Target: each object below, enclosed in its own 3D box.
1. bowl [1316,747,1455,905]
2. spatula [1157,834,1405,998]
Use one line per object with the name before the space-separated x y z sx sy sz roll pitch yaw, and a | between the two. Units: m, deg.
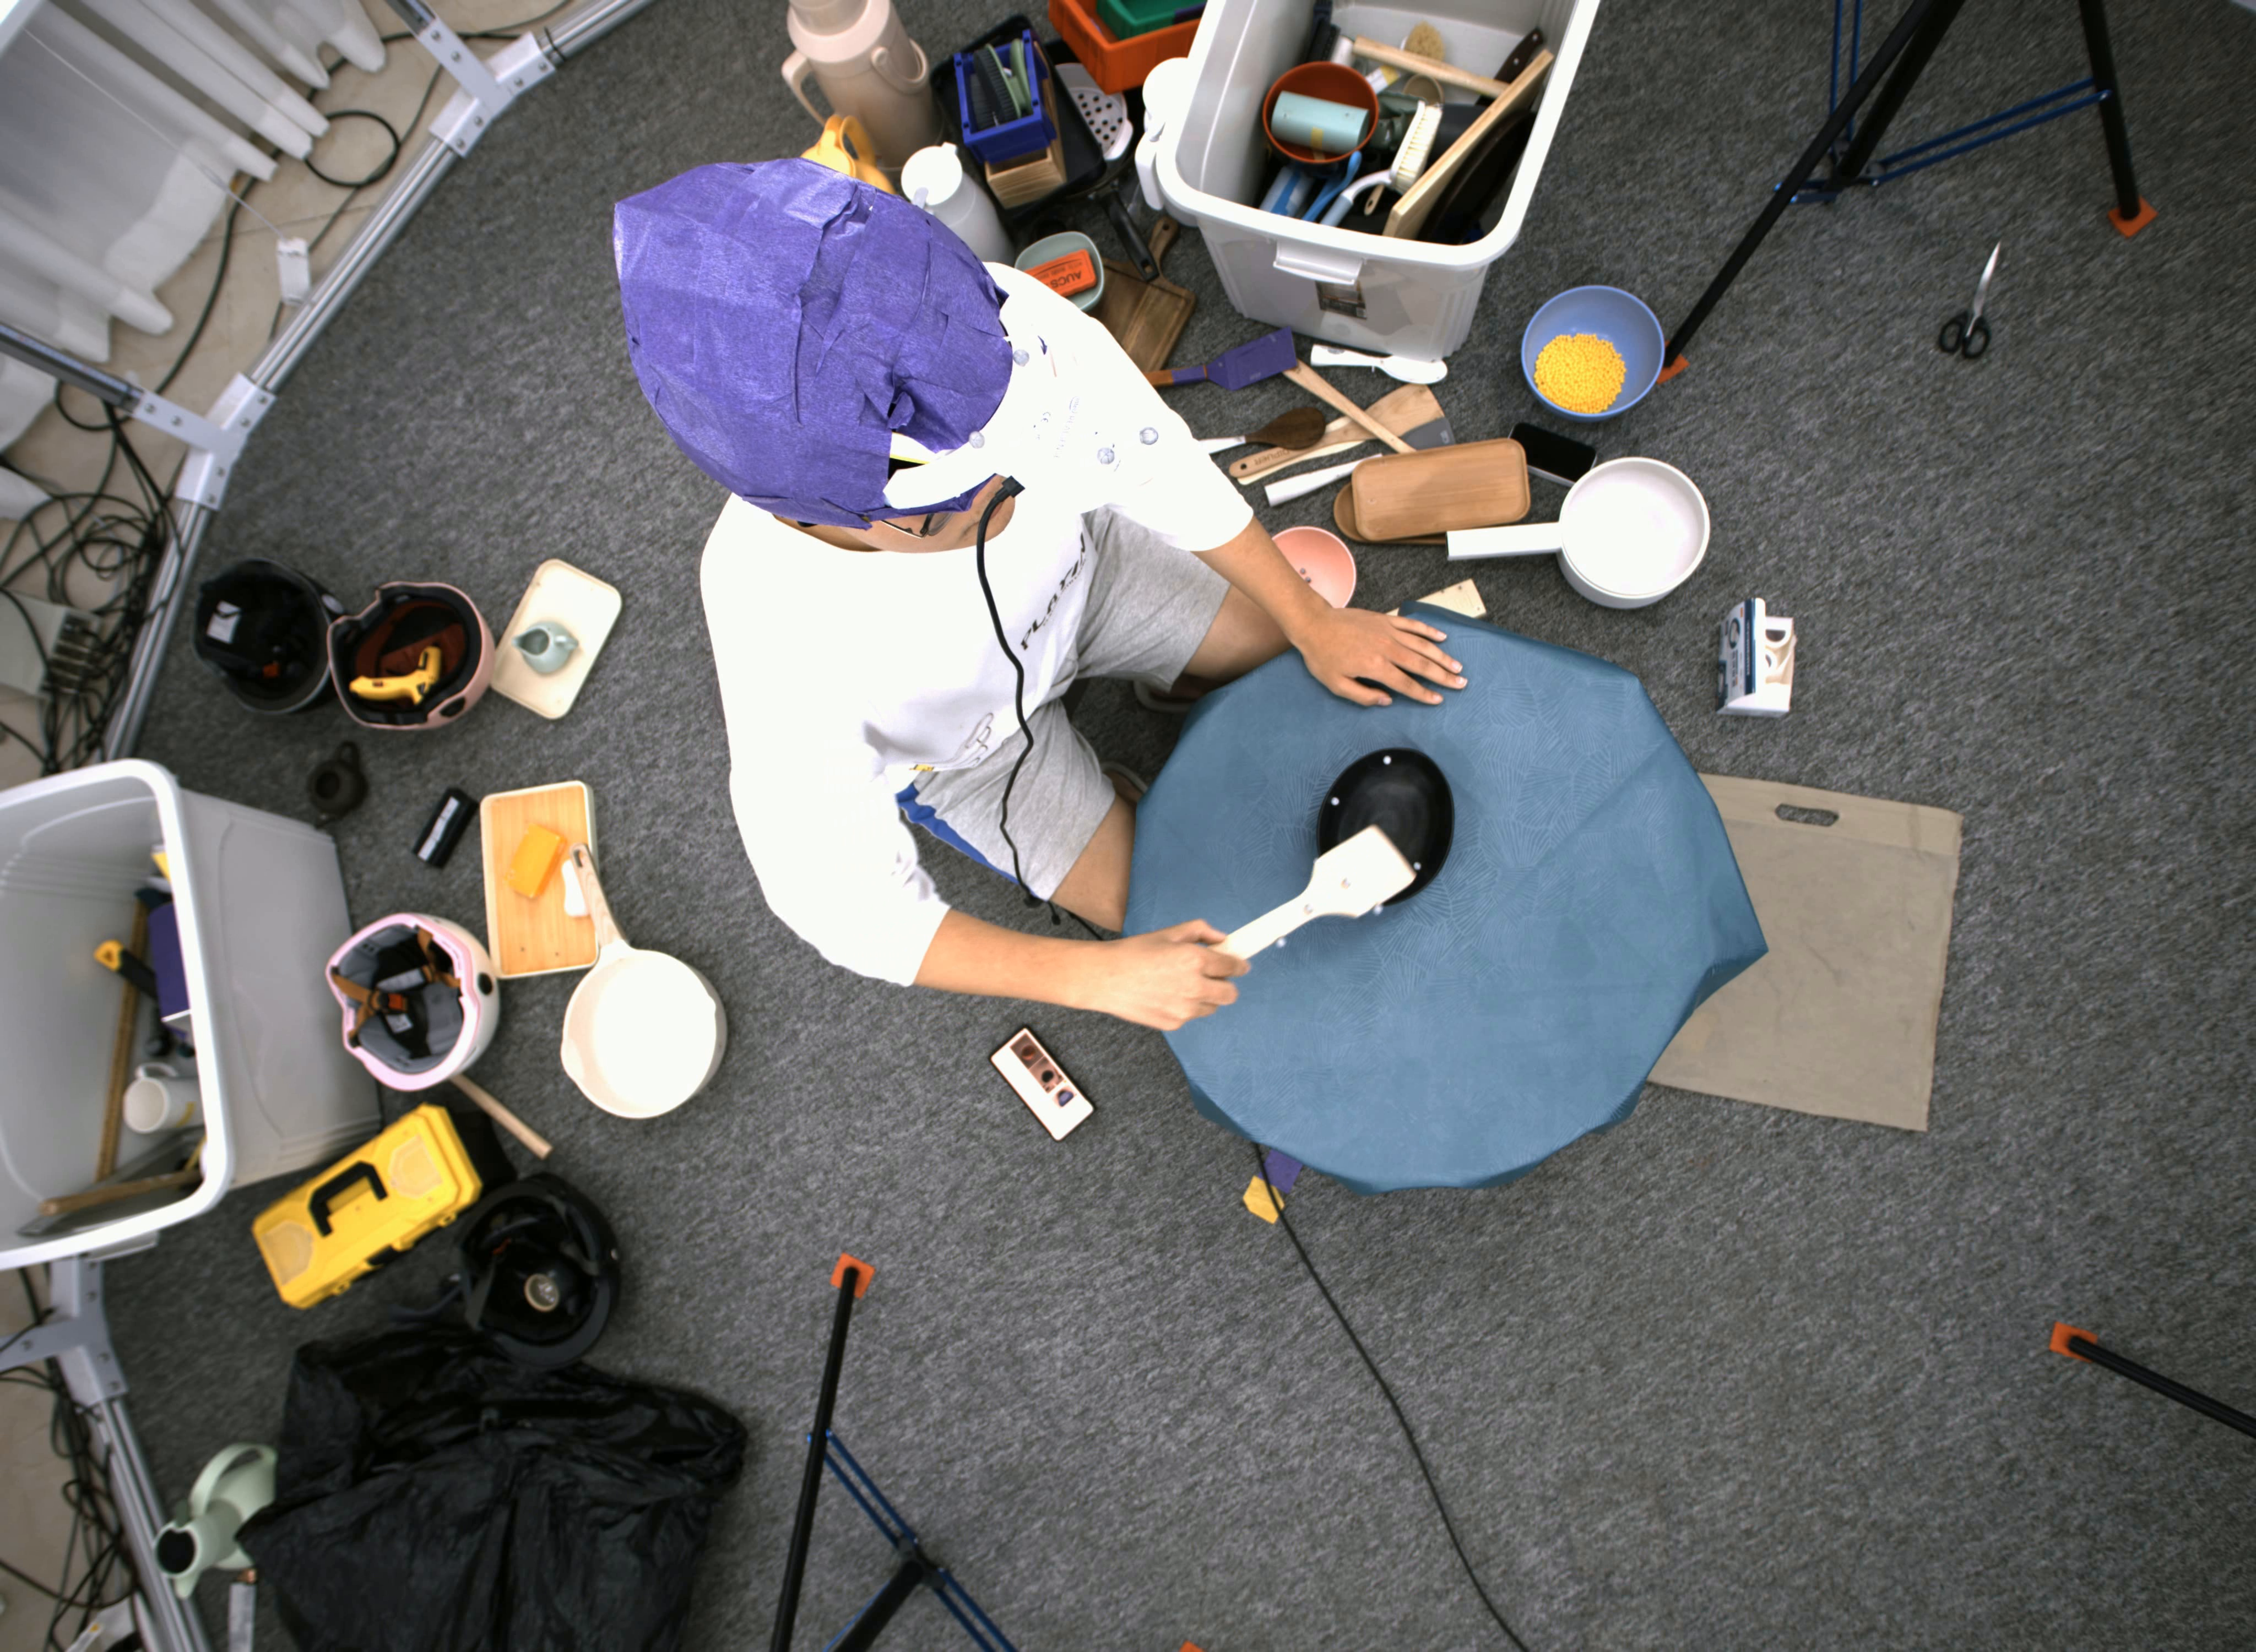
bowl | 0.268 0.000 1.432 0.137 0.067 0.170 17 88 12
spatula | 0.143 0.089 1.293 0.288 0.011 0.071 -26 71 -30
